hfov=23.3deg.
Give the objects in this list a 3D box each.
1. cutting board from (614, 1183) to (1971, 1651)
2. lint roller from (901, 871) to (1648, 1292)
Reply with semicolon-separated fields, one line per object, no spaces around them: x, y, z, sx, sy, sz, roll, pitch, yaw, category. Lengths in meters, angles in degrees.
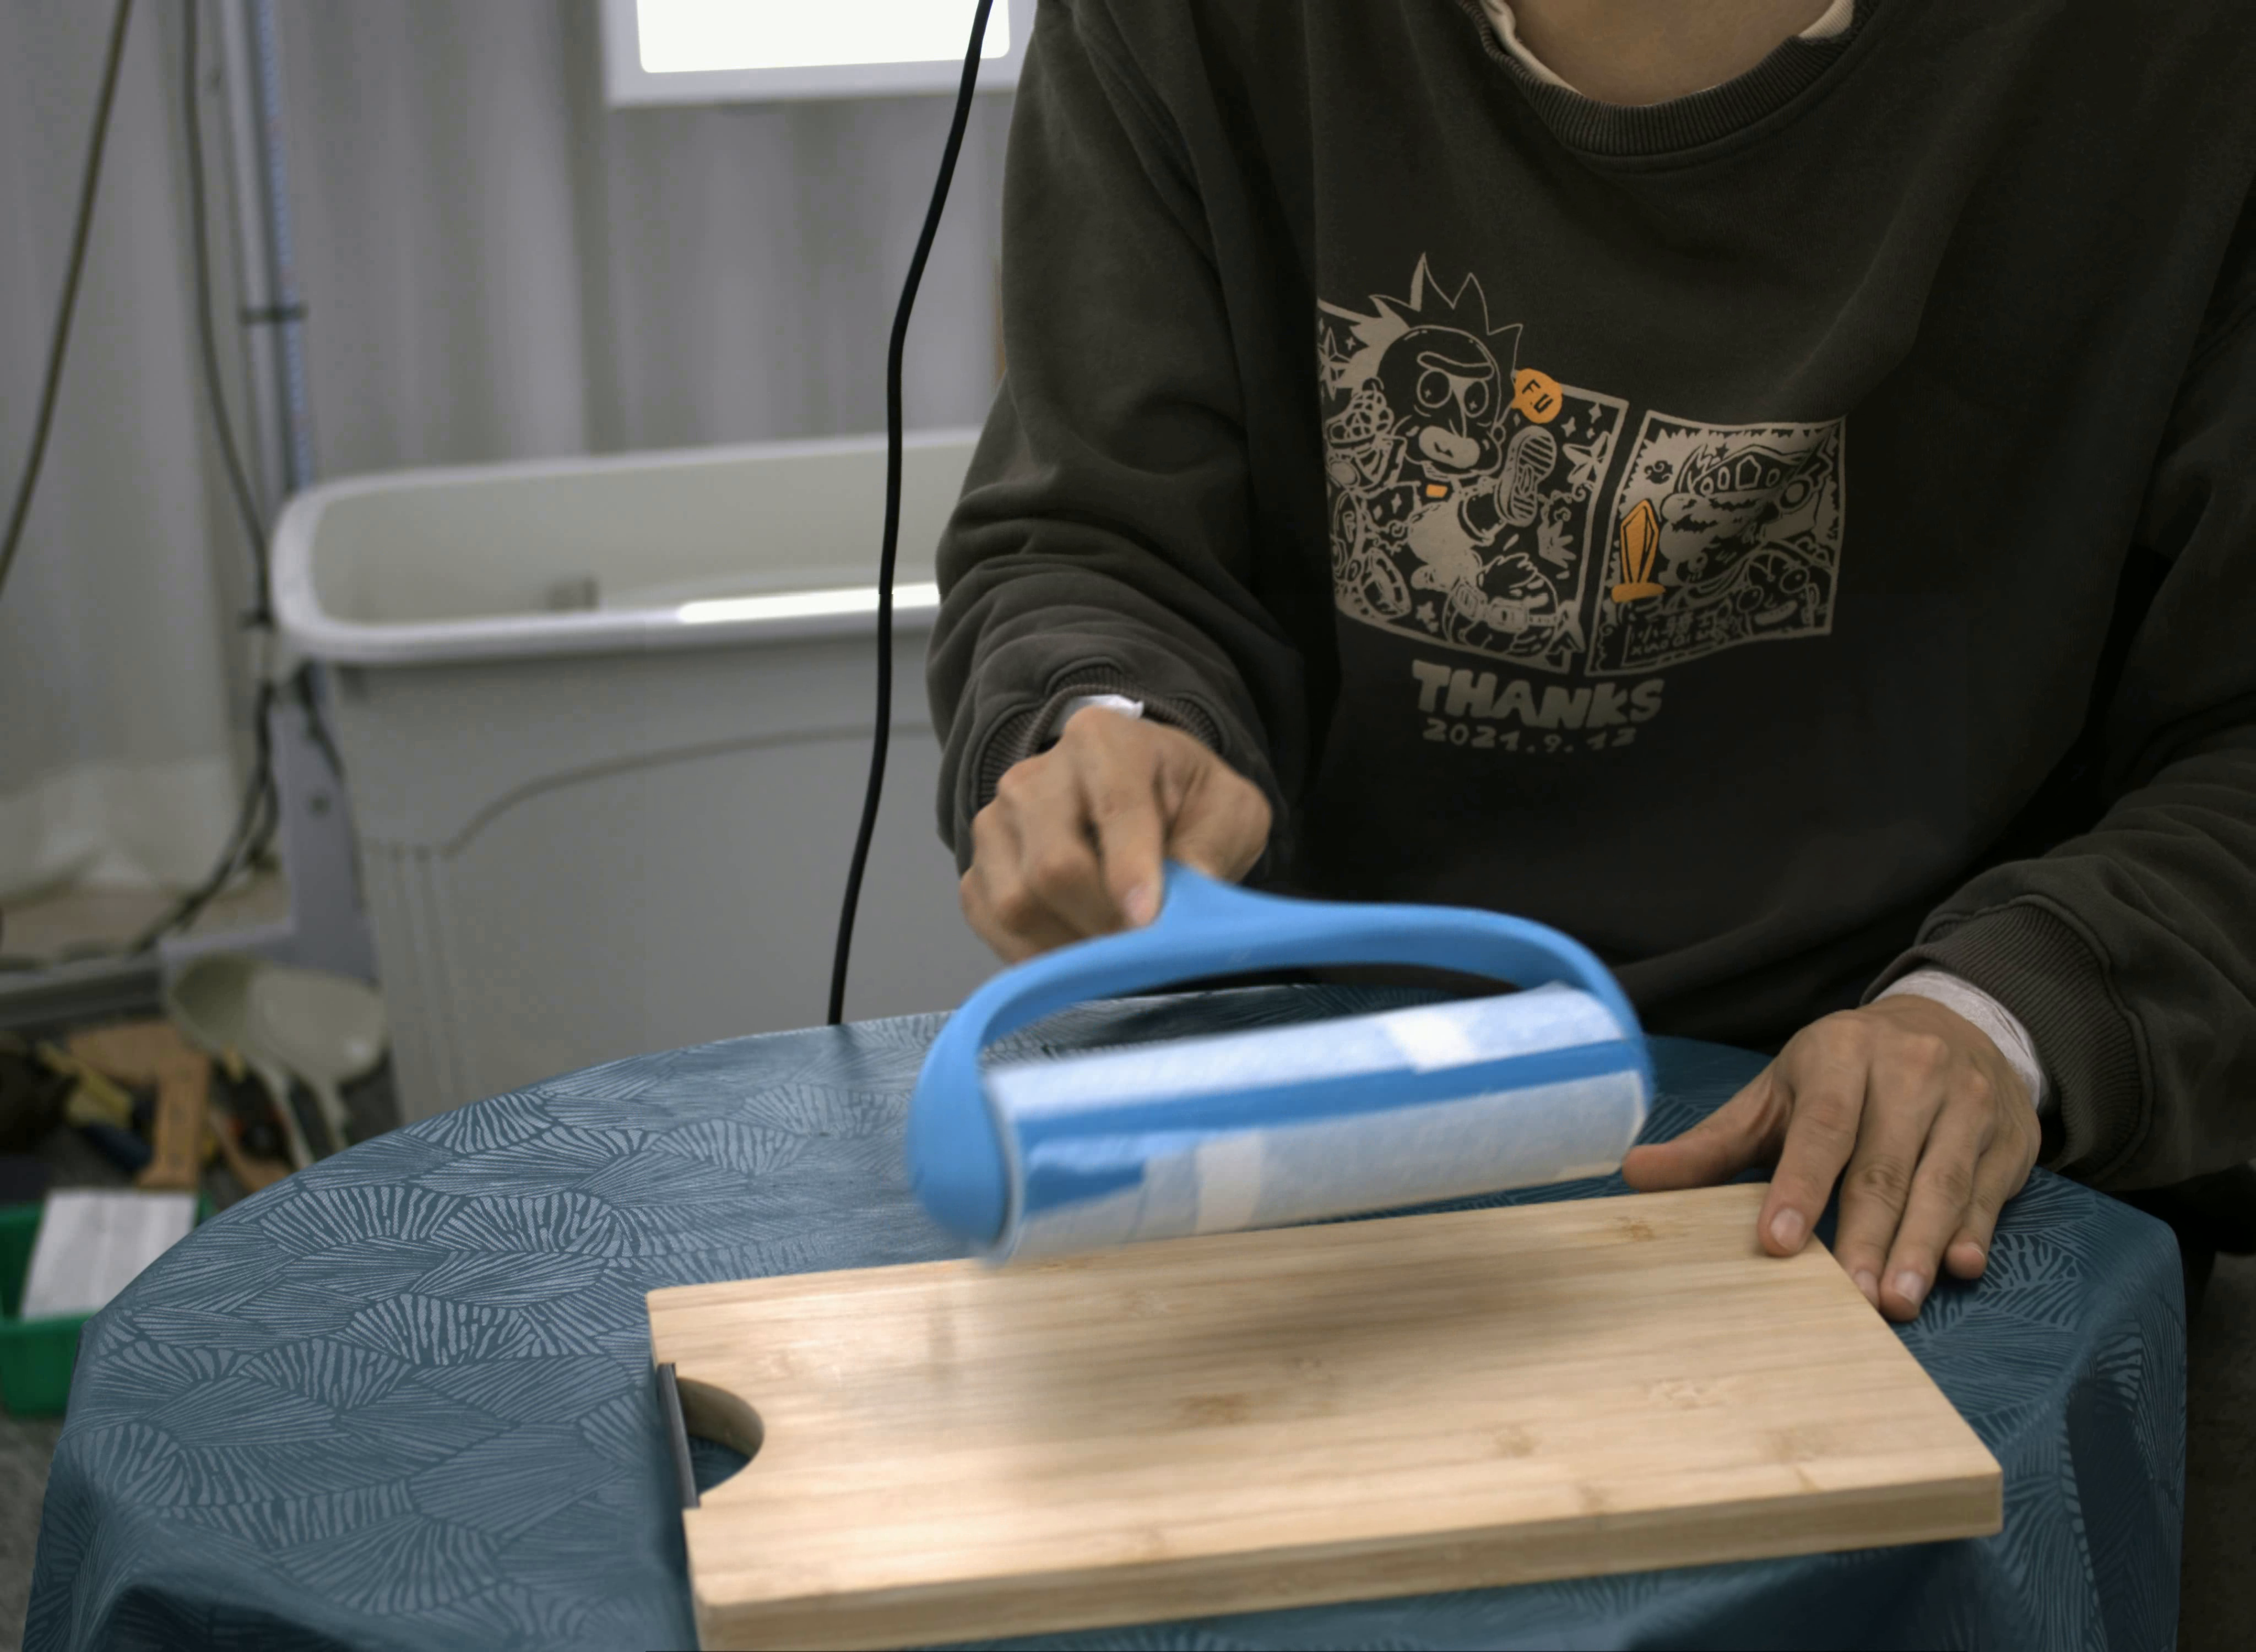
0.037;0.162;1.510;0.347;0.023;0.252;-5;15;-8;cutting board
0.017;0.052;1.558;0.228;0.067;0.183;-11;39;-26;lint roller
